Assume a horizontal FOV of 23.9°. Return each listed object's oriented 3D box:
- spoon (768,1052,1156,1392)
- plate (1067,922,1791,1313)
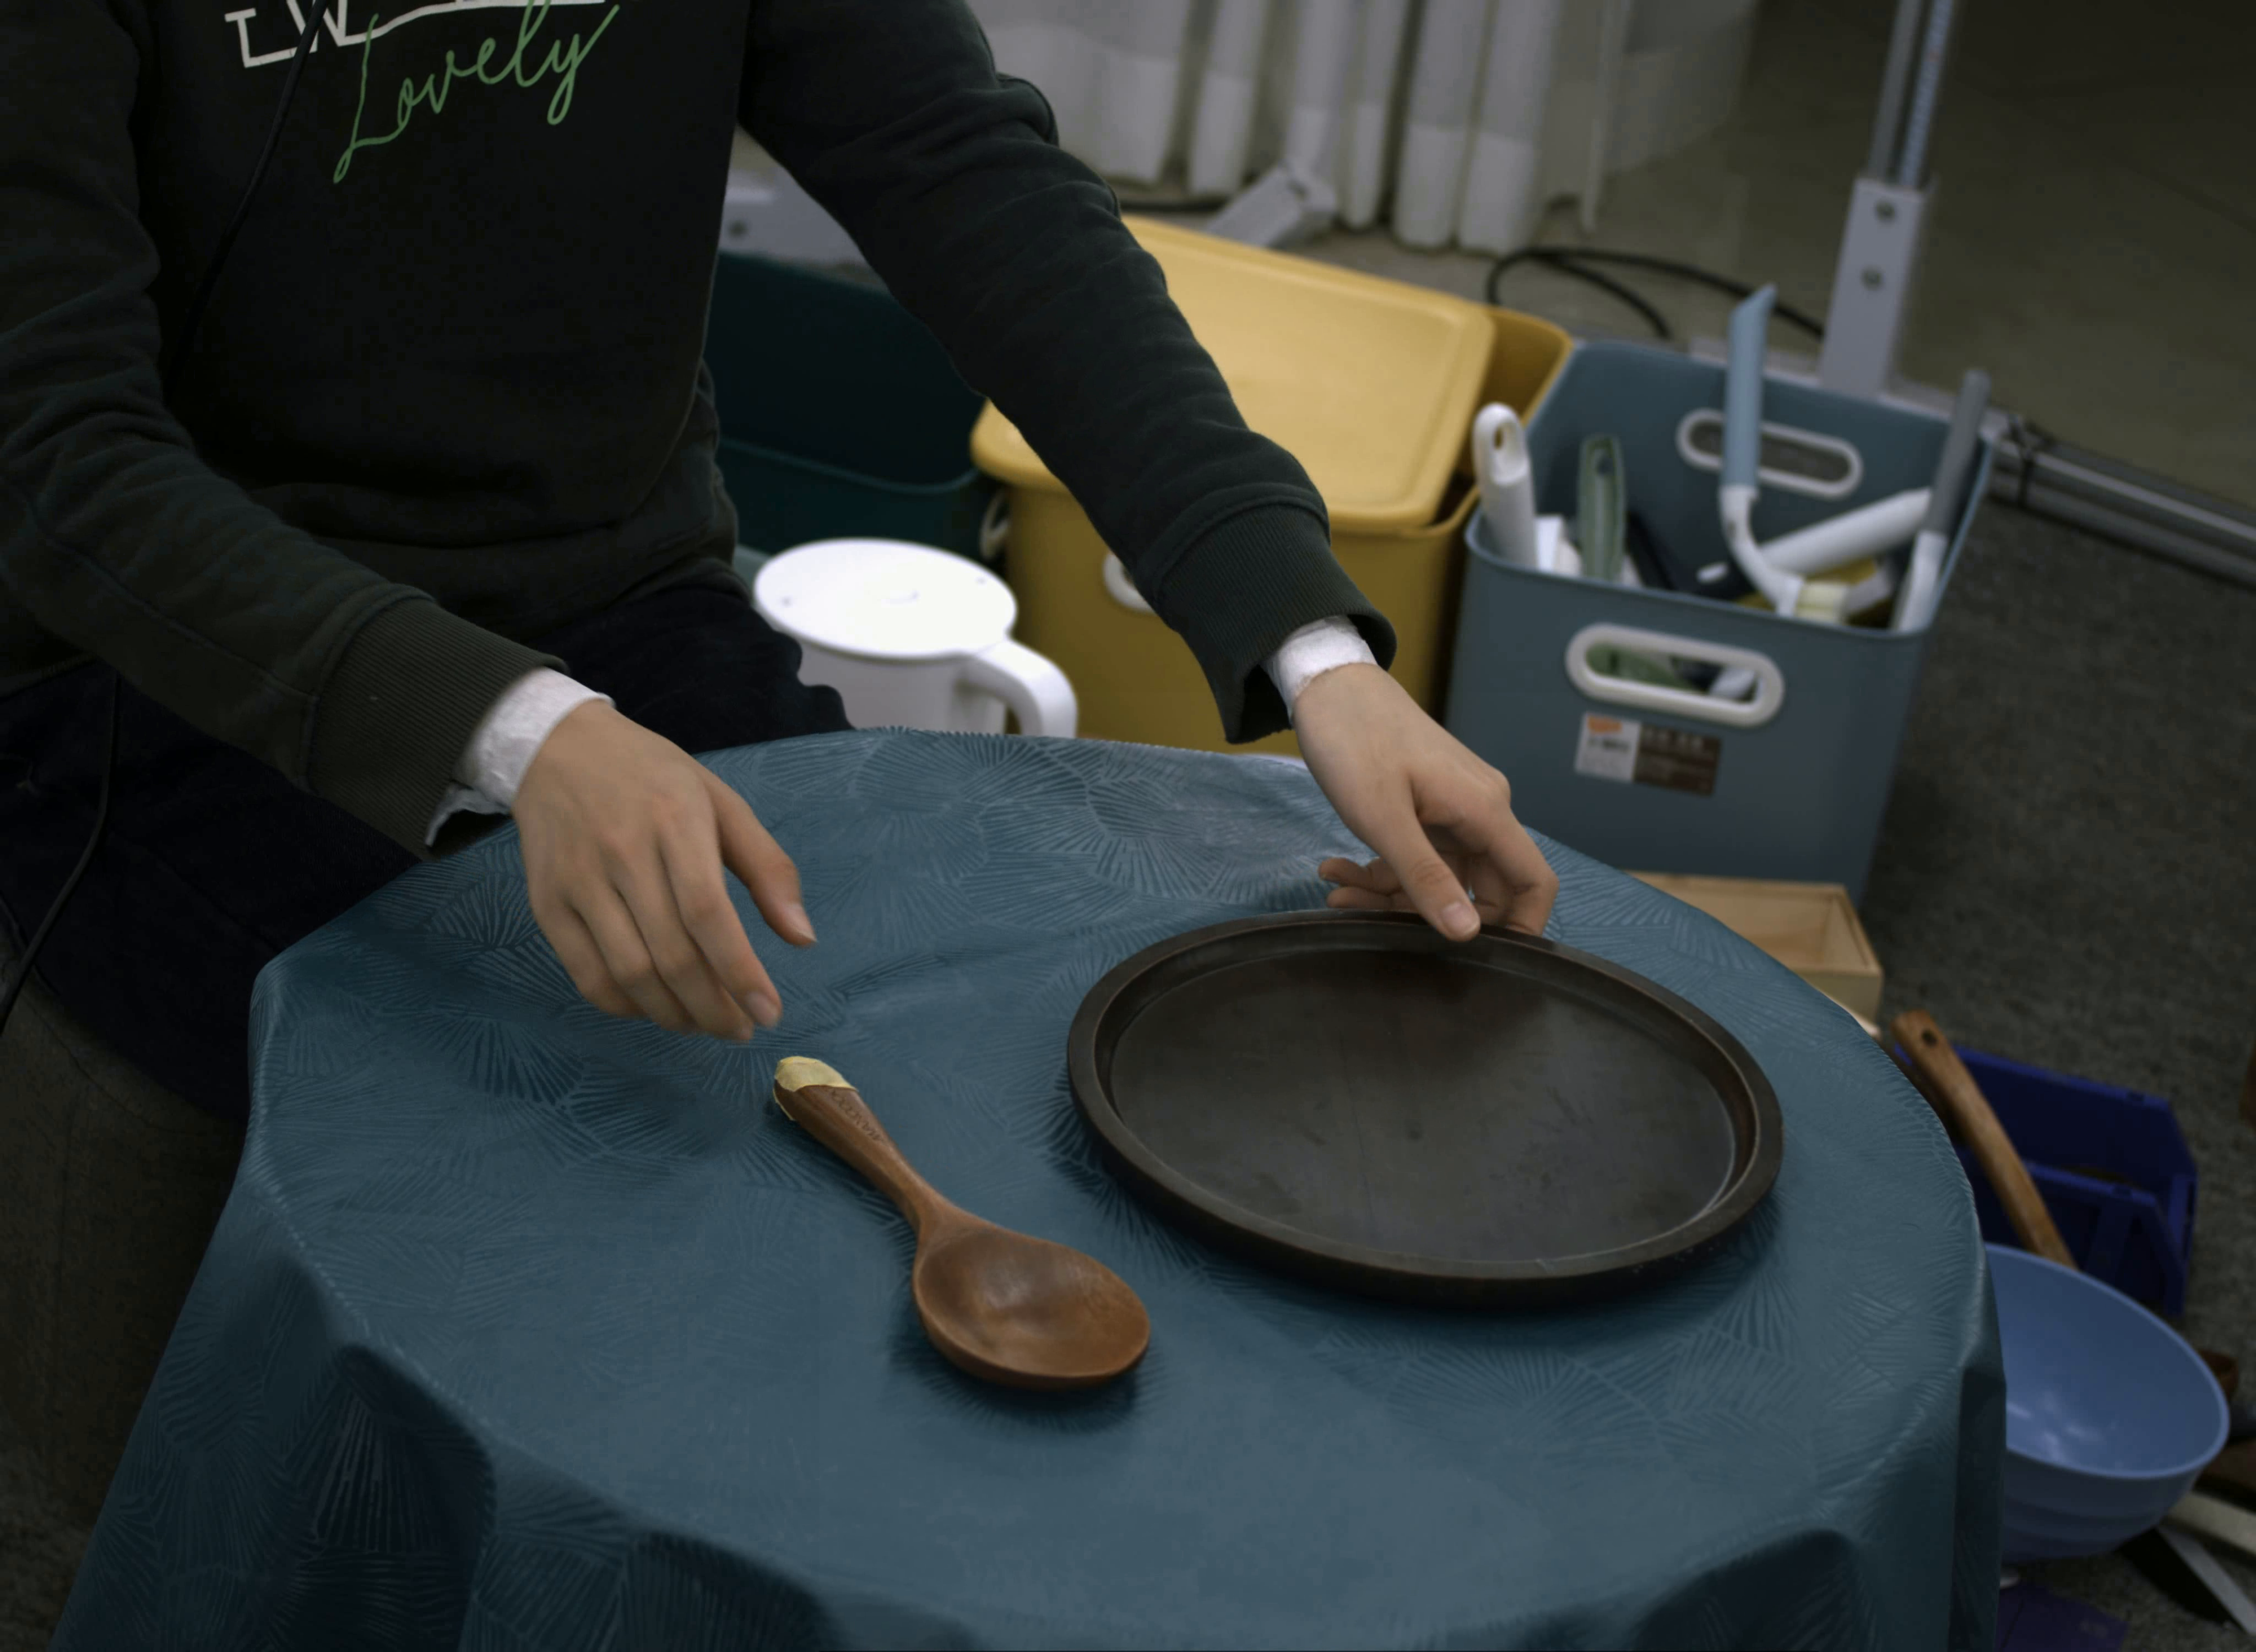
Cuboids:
[{"bbox_3d":[-0.063,0.131,1.753,0.075,0.017,0.218,-9,31,-29],"label":"spoon"},{"bbox_3d":[0.103,0.099,1.849,0.254,0.029,0.256,6,27,-3],"label":"plate"}]
